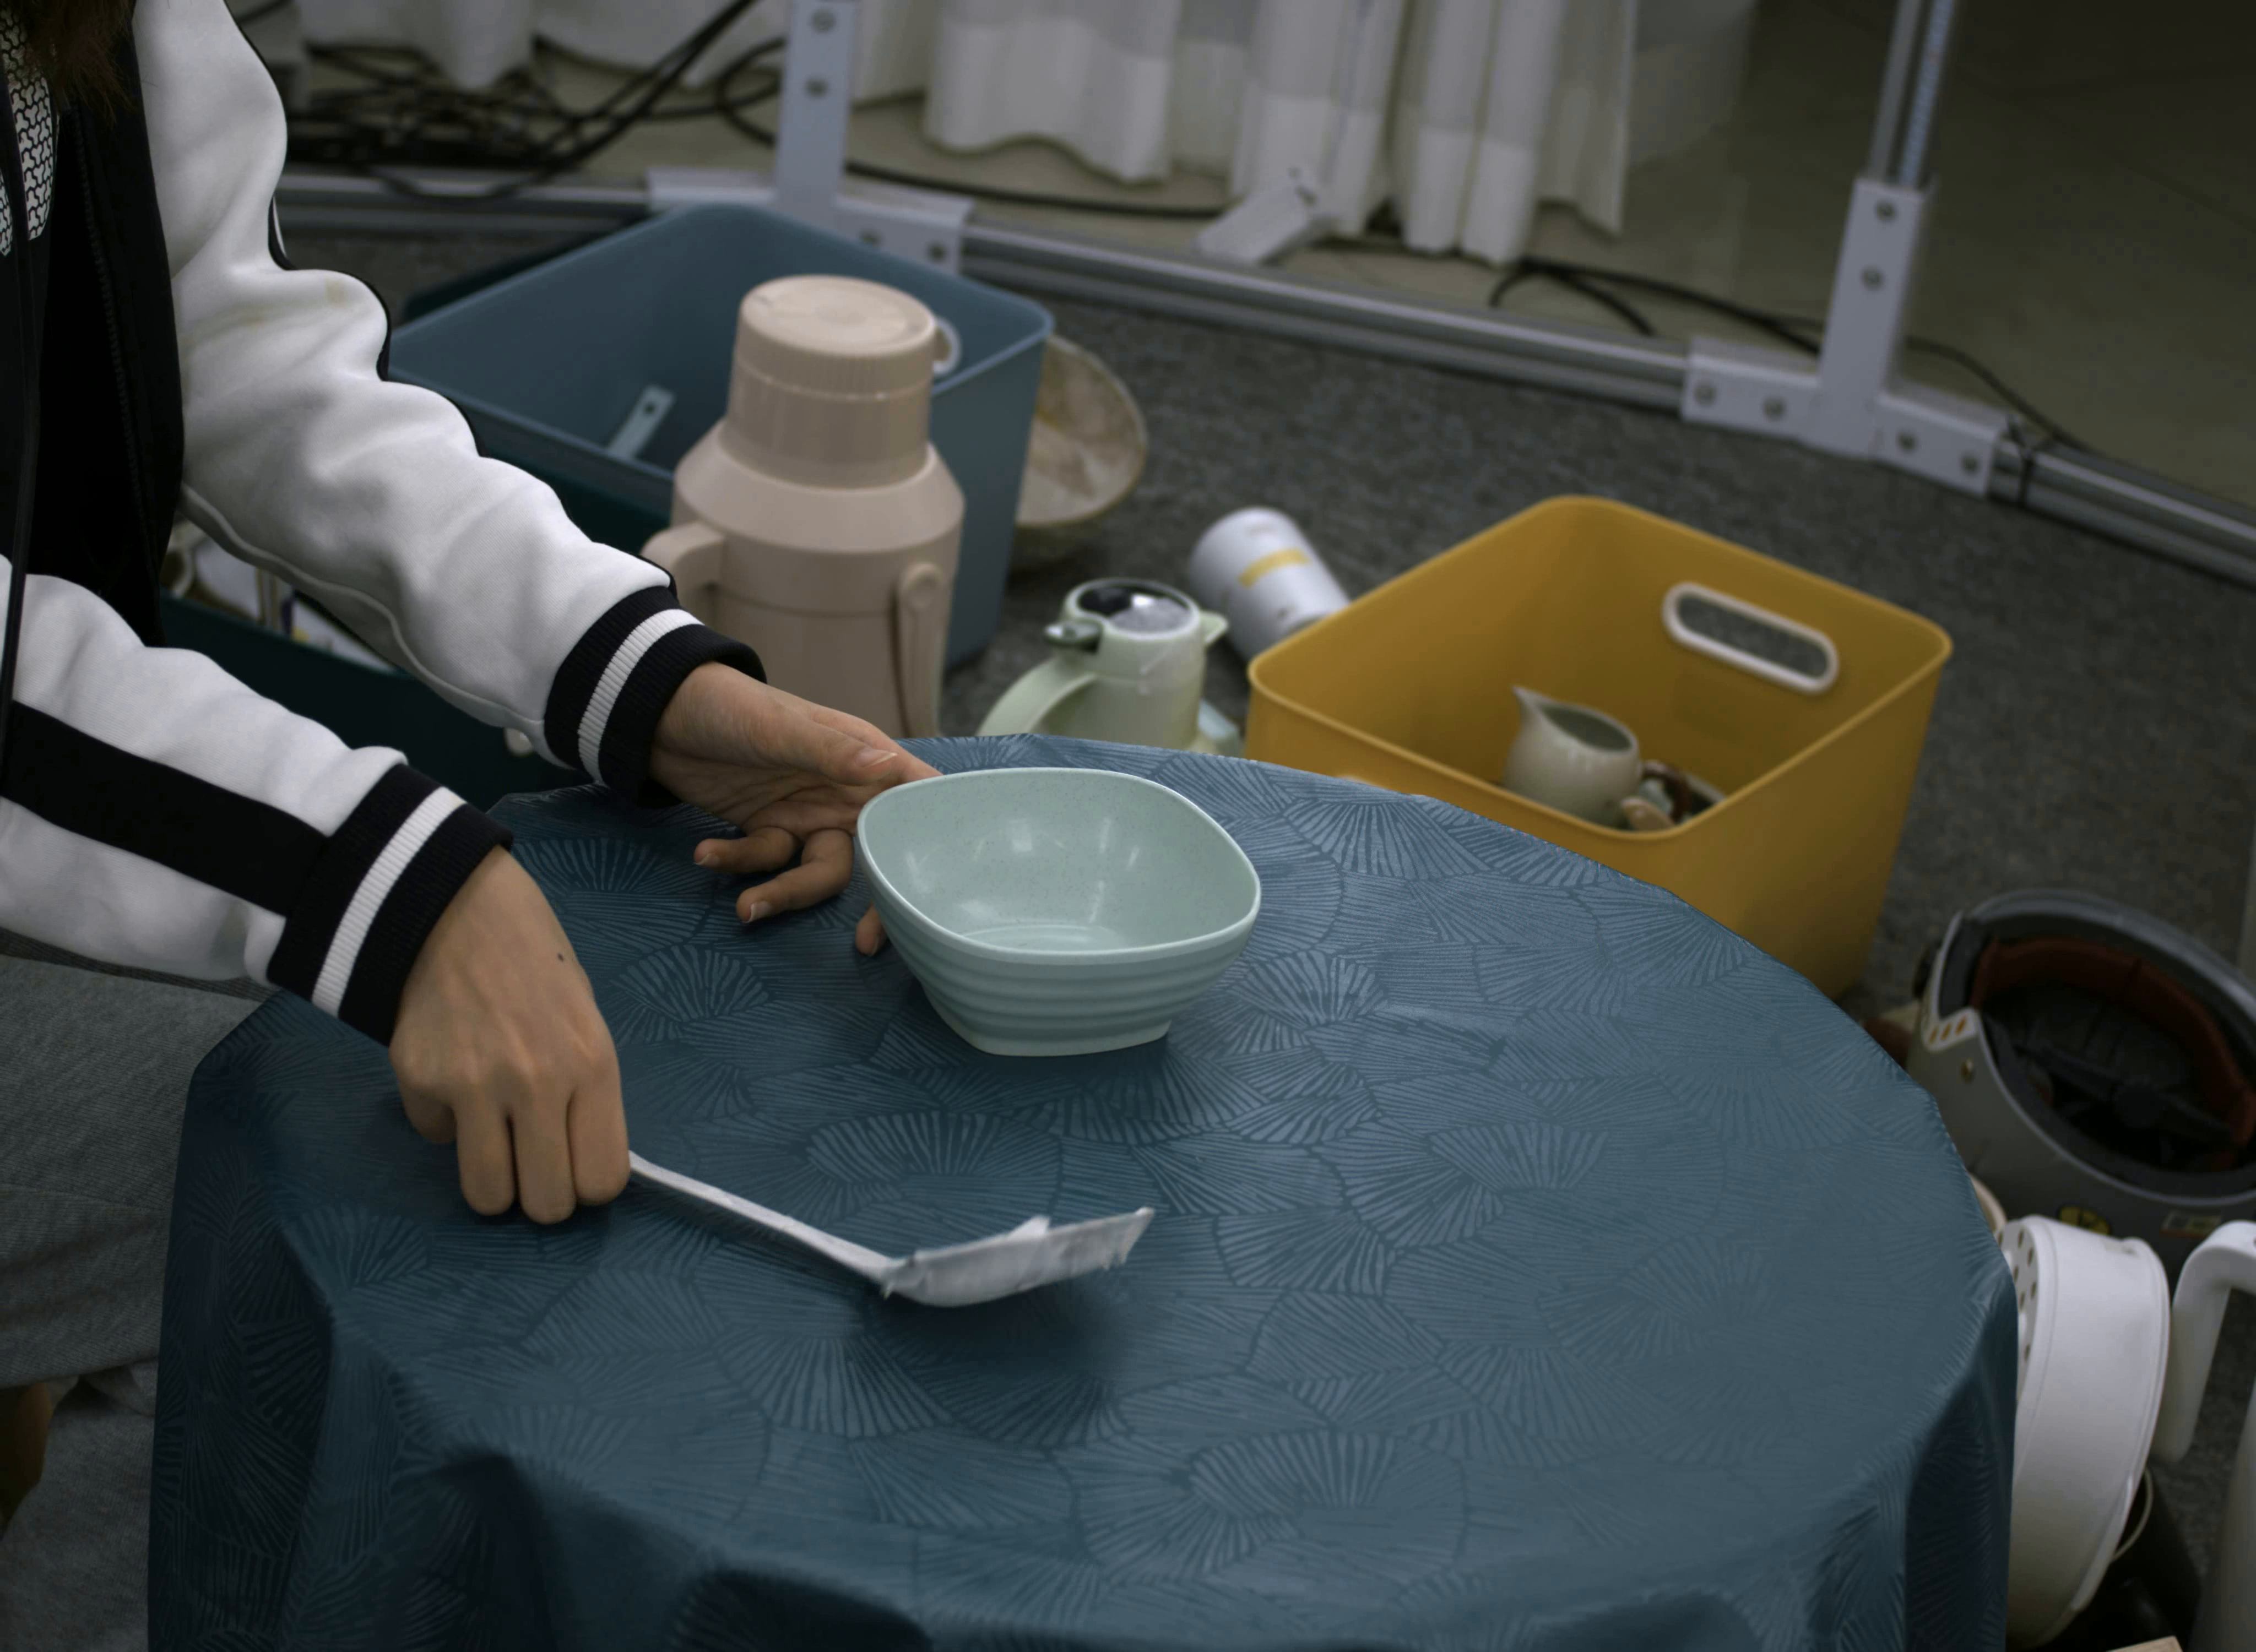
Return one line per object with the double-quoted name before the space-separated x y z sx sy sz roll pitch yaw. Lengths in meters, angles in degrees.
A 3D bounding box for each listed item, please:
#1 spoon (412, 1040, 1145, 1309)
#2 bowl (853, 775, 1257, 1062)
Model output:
"spoon" -0.120 0.100 1.757 0.279 0.059 0.100 23 9 28
"bowl" -0.029 0.039 1.905 0.151 0.058 0.152 5 27 -3
